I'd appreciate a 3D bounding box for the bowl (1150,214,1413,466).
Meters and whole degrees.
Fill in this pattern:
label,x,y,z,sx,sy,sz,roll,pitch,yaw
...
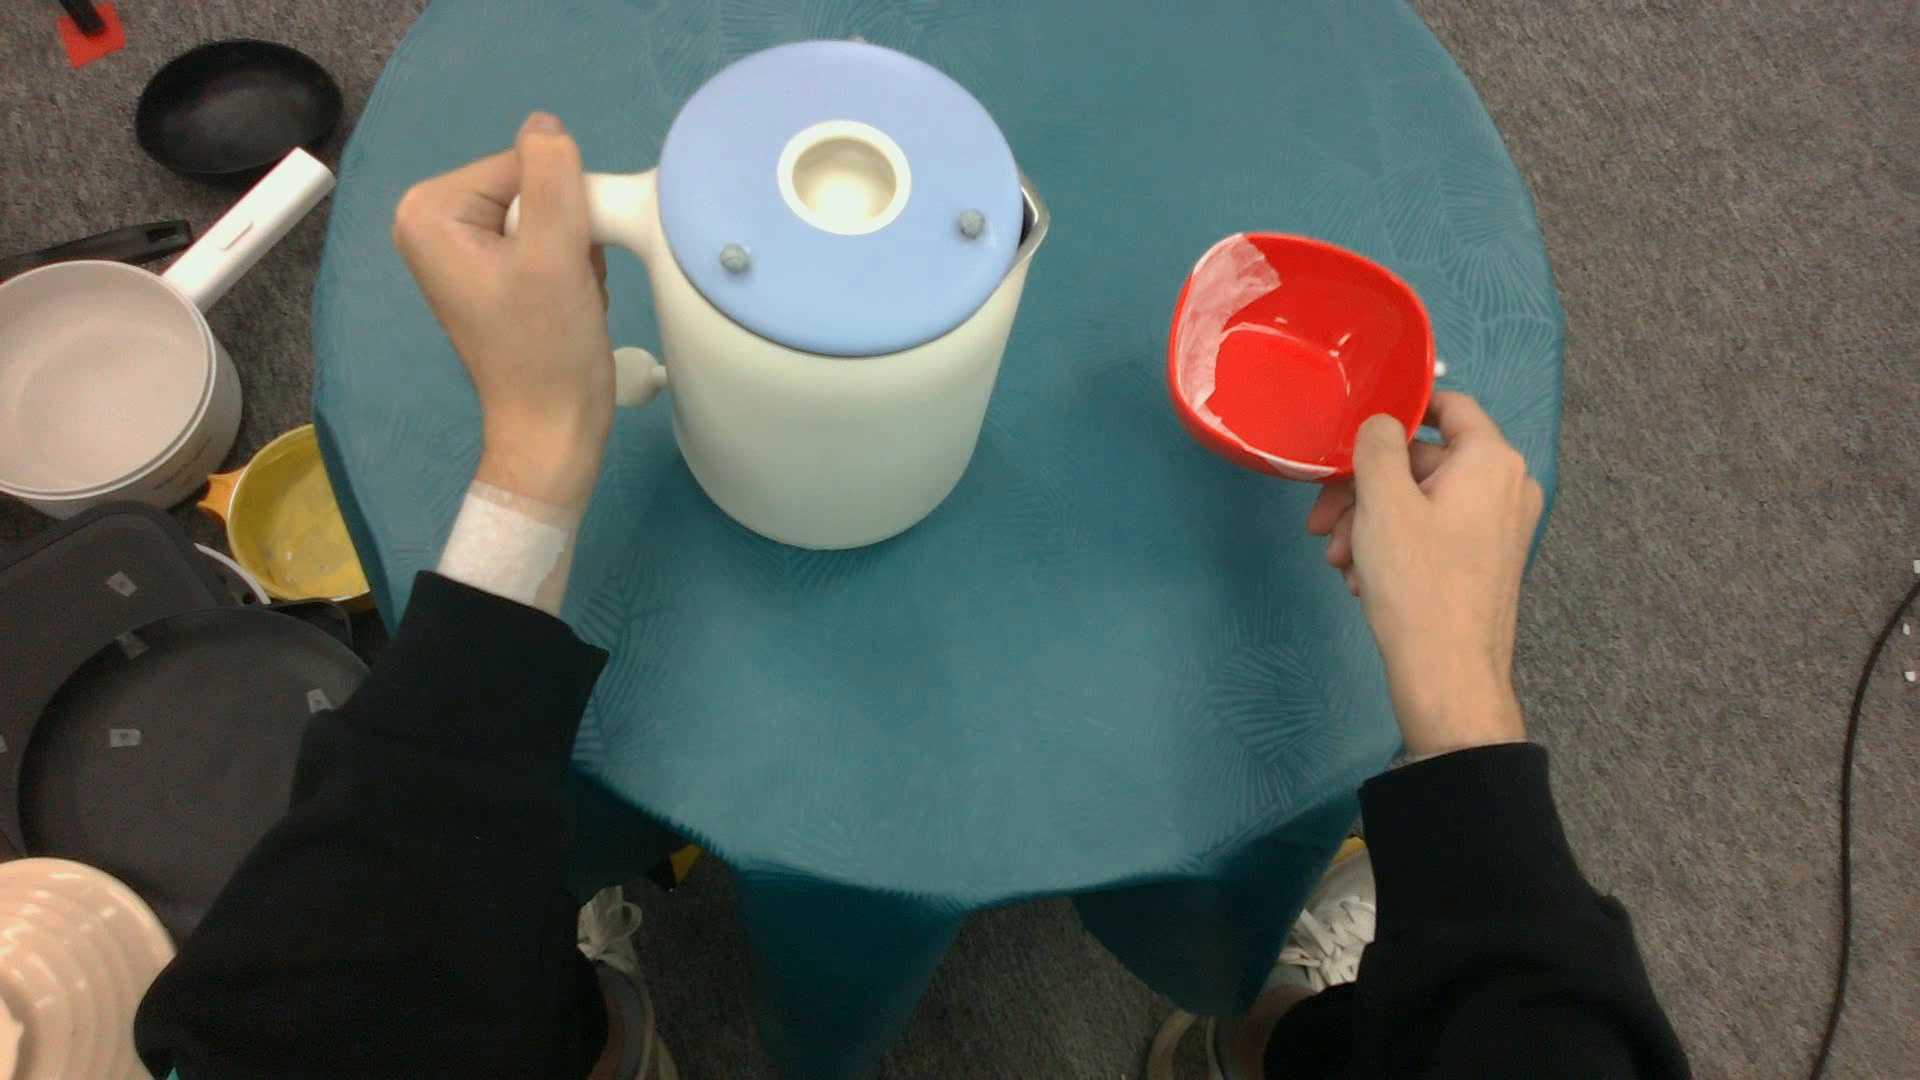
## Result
label,x,y,z,sx,sy,sz,roll,pitch,yaw
bowl,0.131,-0.077,0.589,0.119,0.051,0.119,4,66,-8

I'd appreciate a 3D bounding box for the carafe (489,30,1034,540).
label,x,y,z,sx,sy,sz,roll,pitch,yaw
carafe,-0.078,-0.089,0.521,0.191,0.182,0.132,2,68,-6
